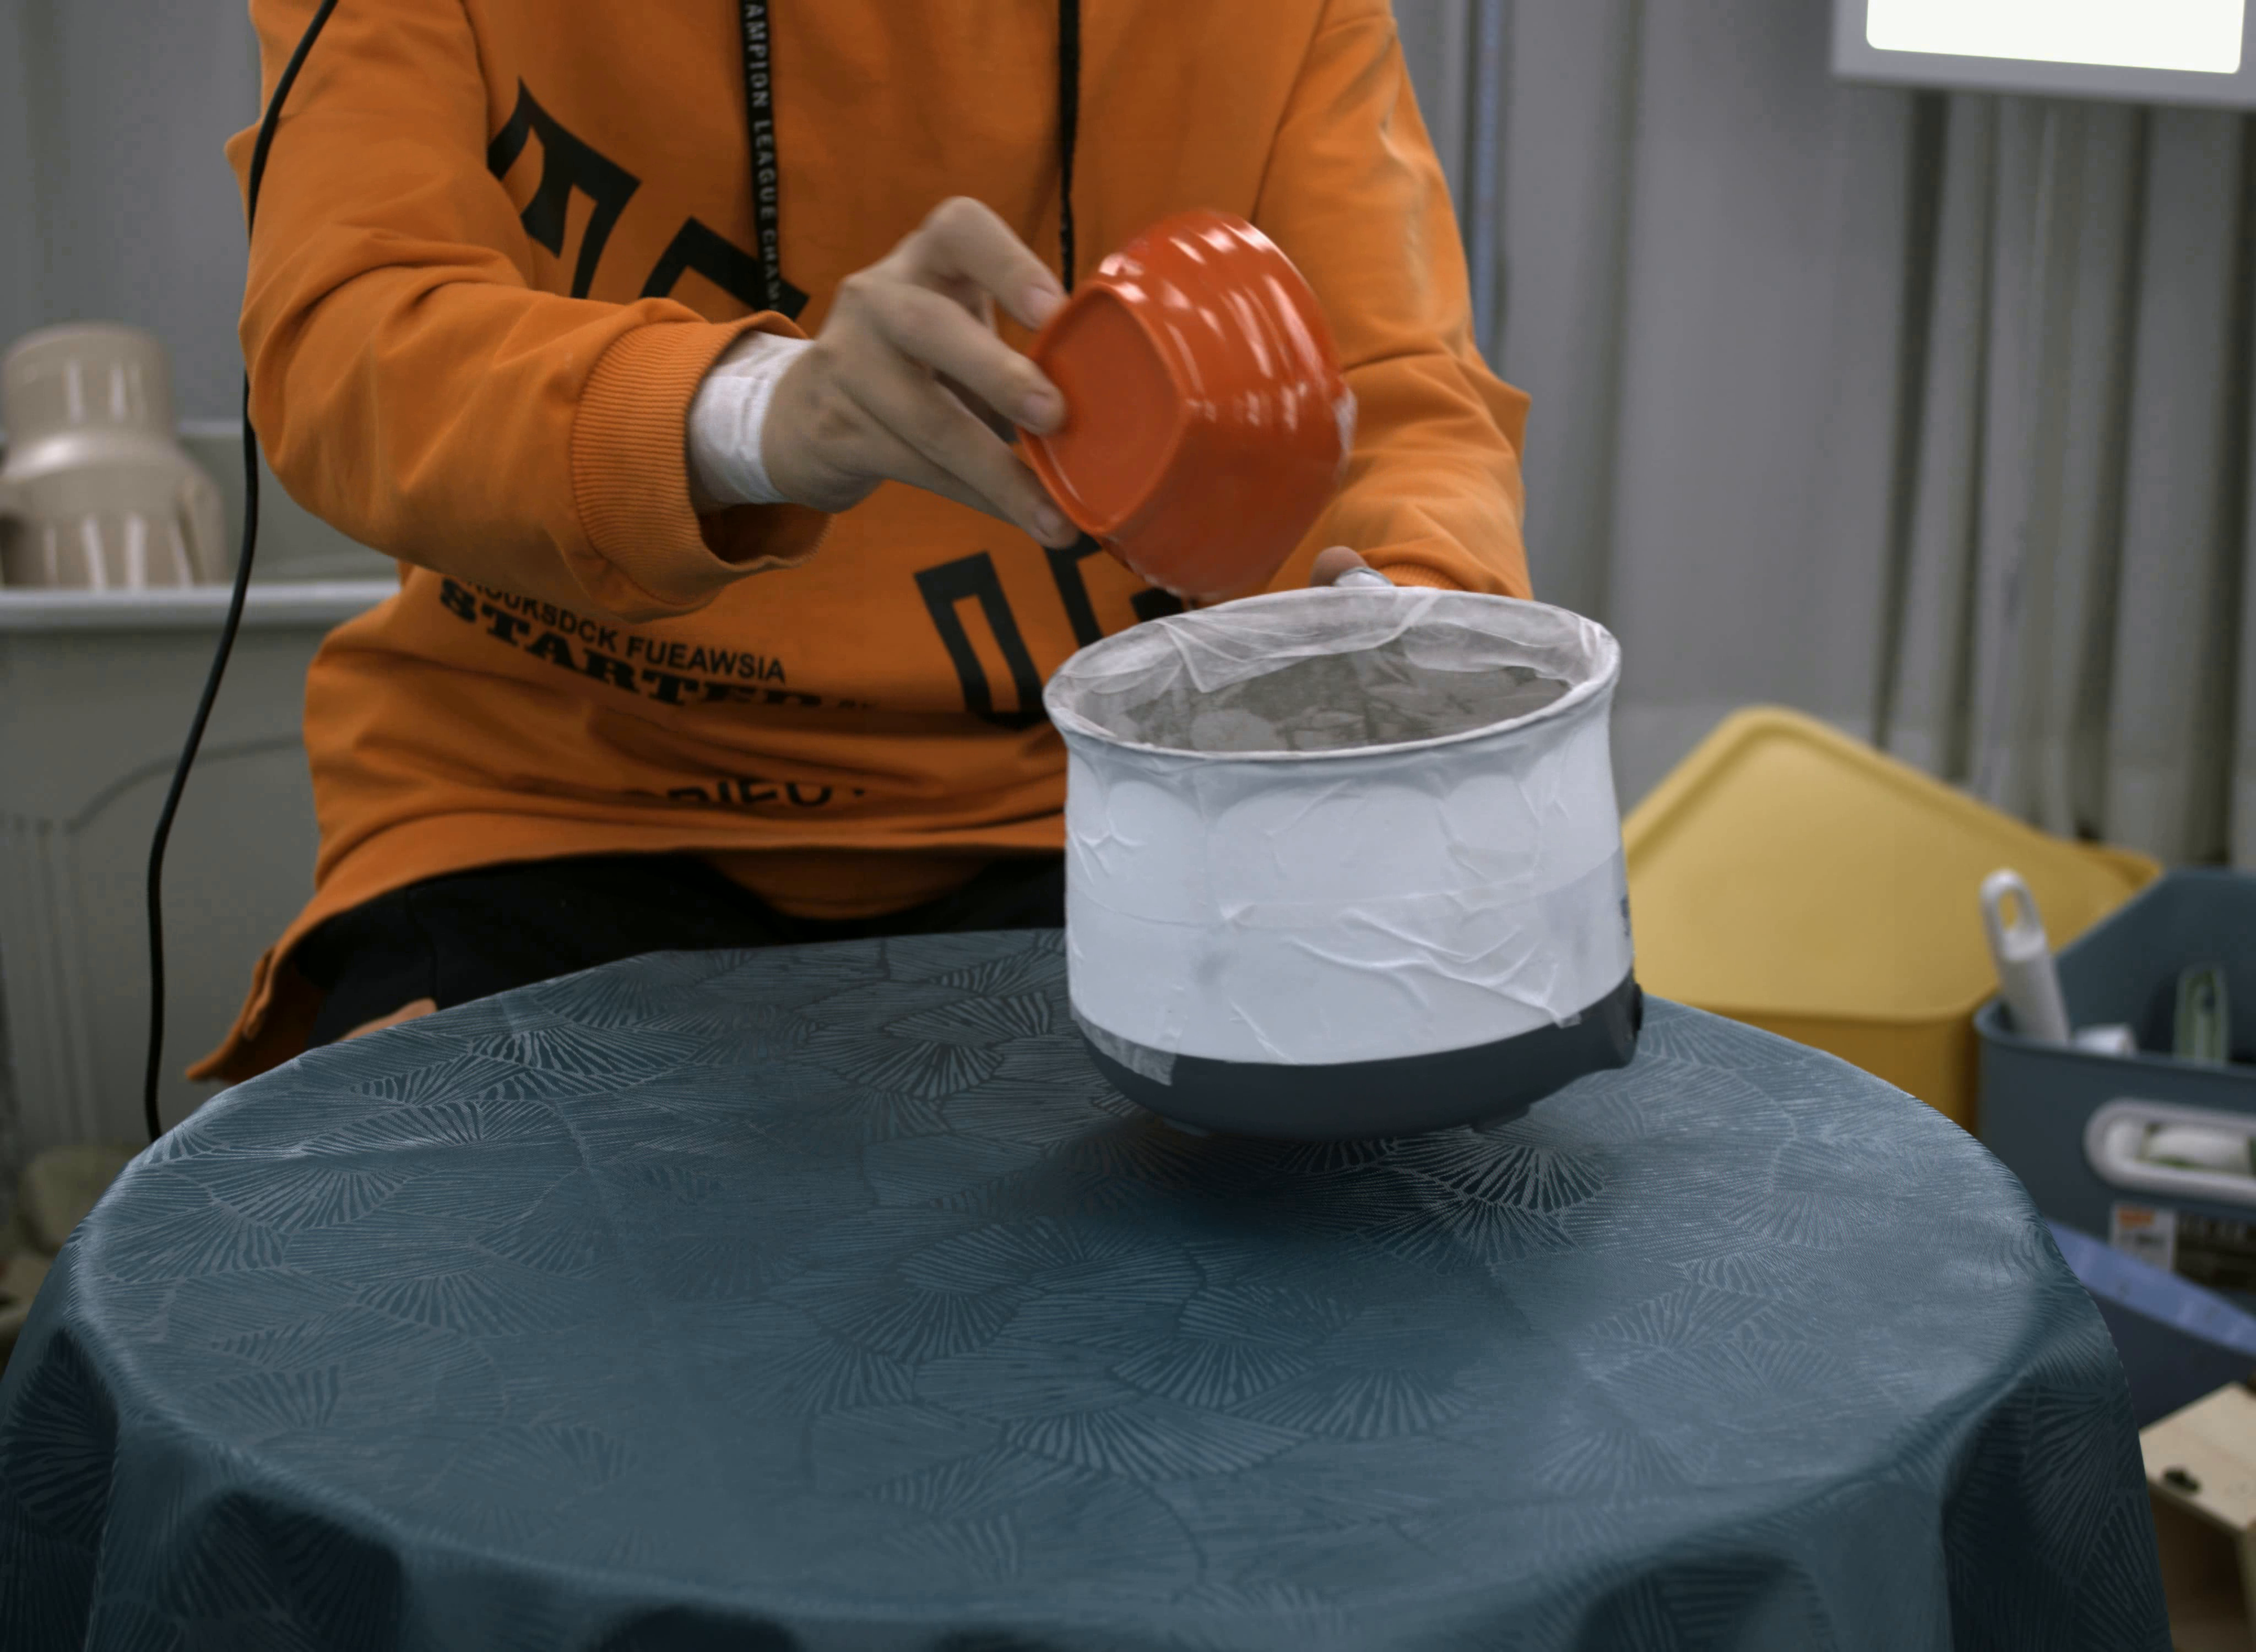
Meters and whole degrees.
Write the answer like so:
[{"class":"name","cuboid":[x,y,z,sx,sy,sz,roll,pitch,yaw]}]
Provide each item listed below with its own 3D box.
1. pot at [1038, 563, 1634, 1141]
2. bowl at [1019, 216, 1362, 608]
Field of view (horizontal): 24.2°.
[{"class":"pot","cuboid":[0.068,0.003,1.652,0.178,0.138,0.232,-2,18,7]},{"class":"bowl","cuboid":[0.011,-0.124,1.584,0.052,0.119,0.117,-6,16,-45]}]
